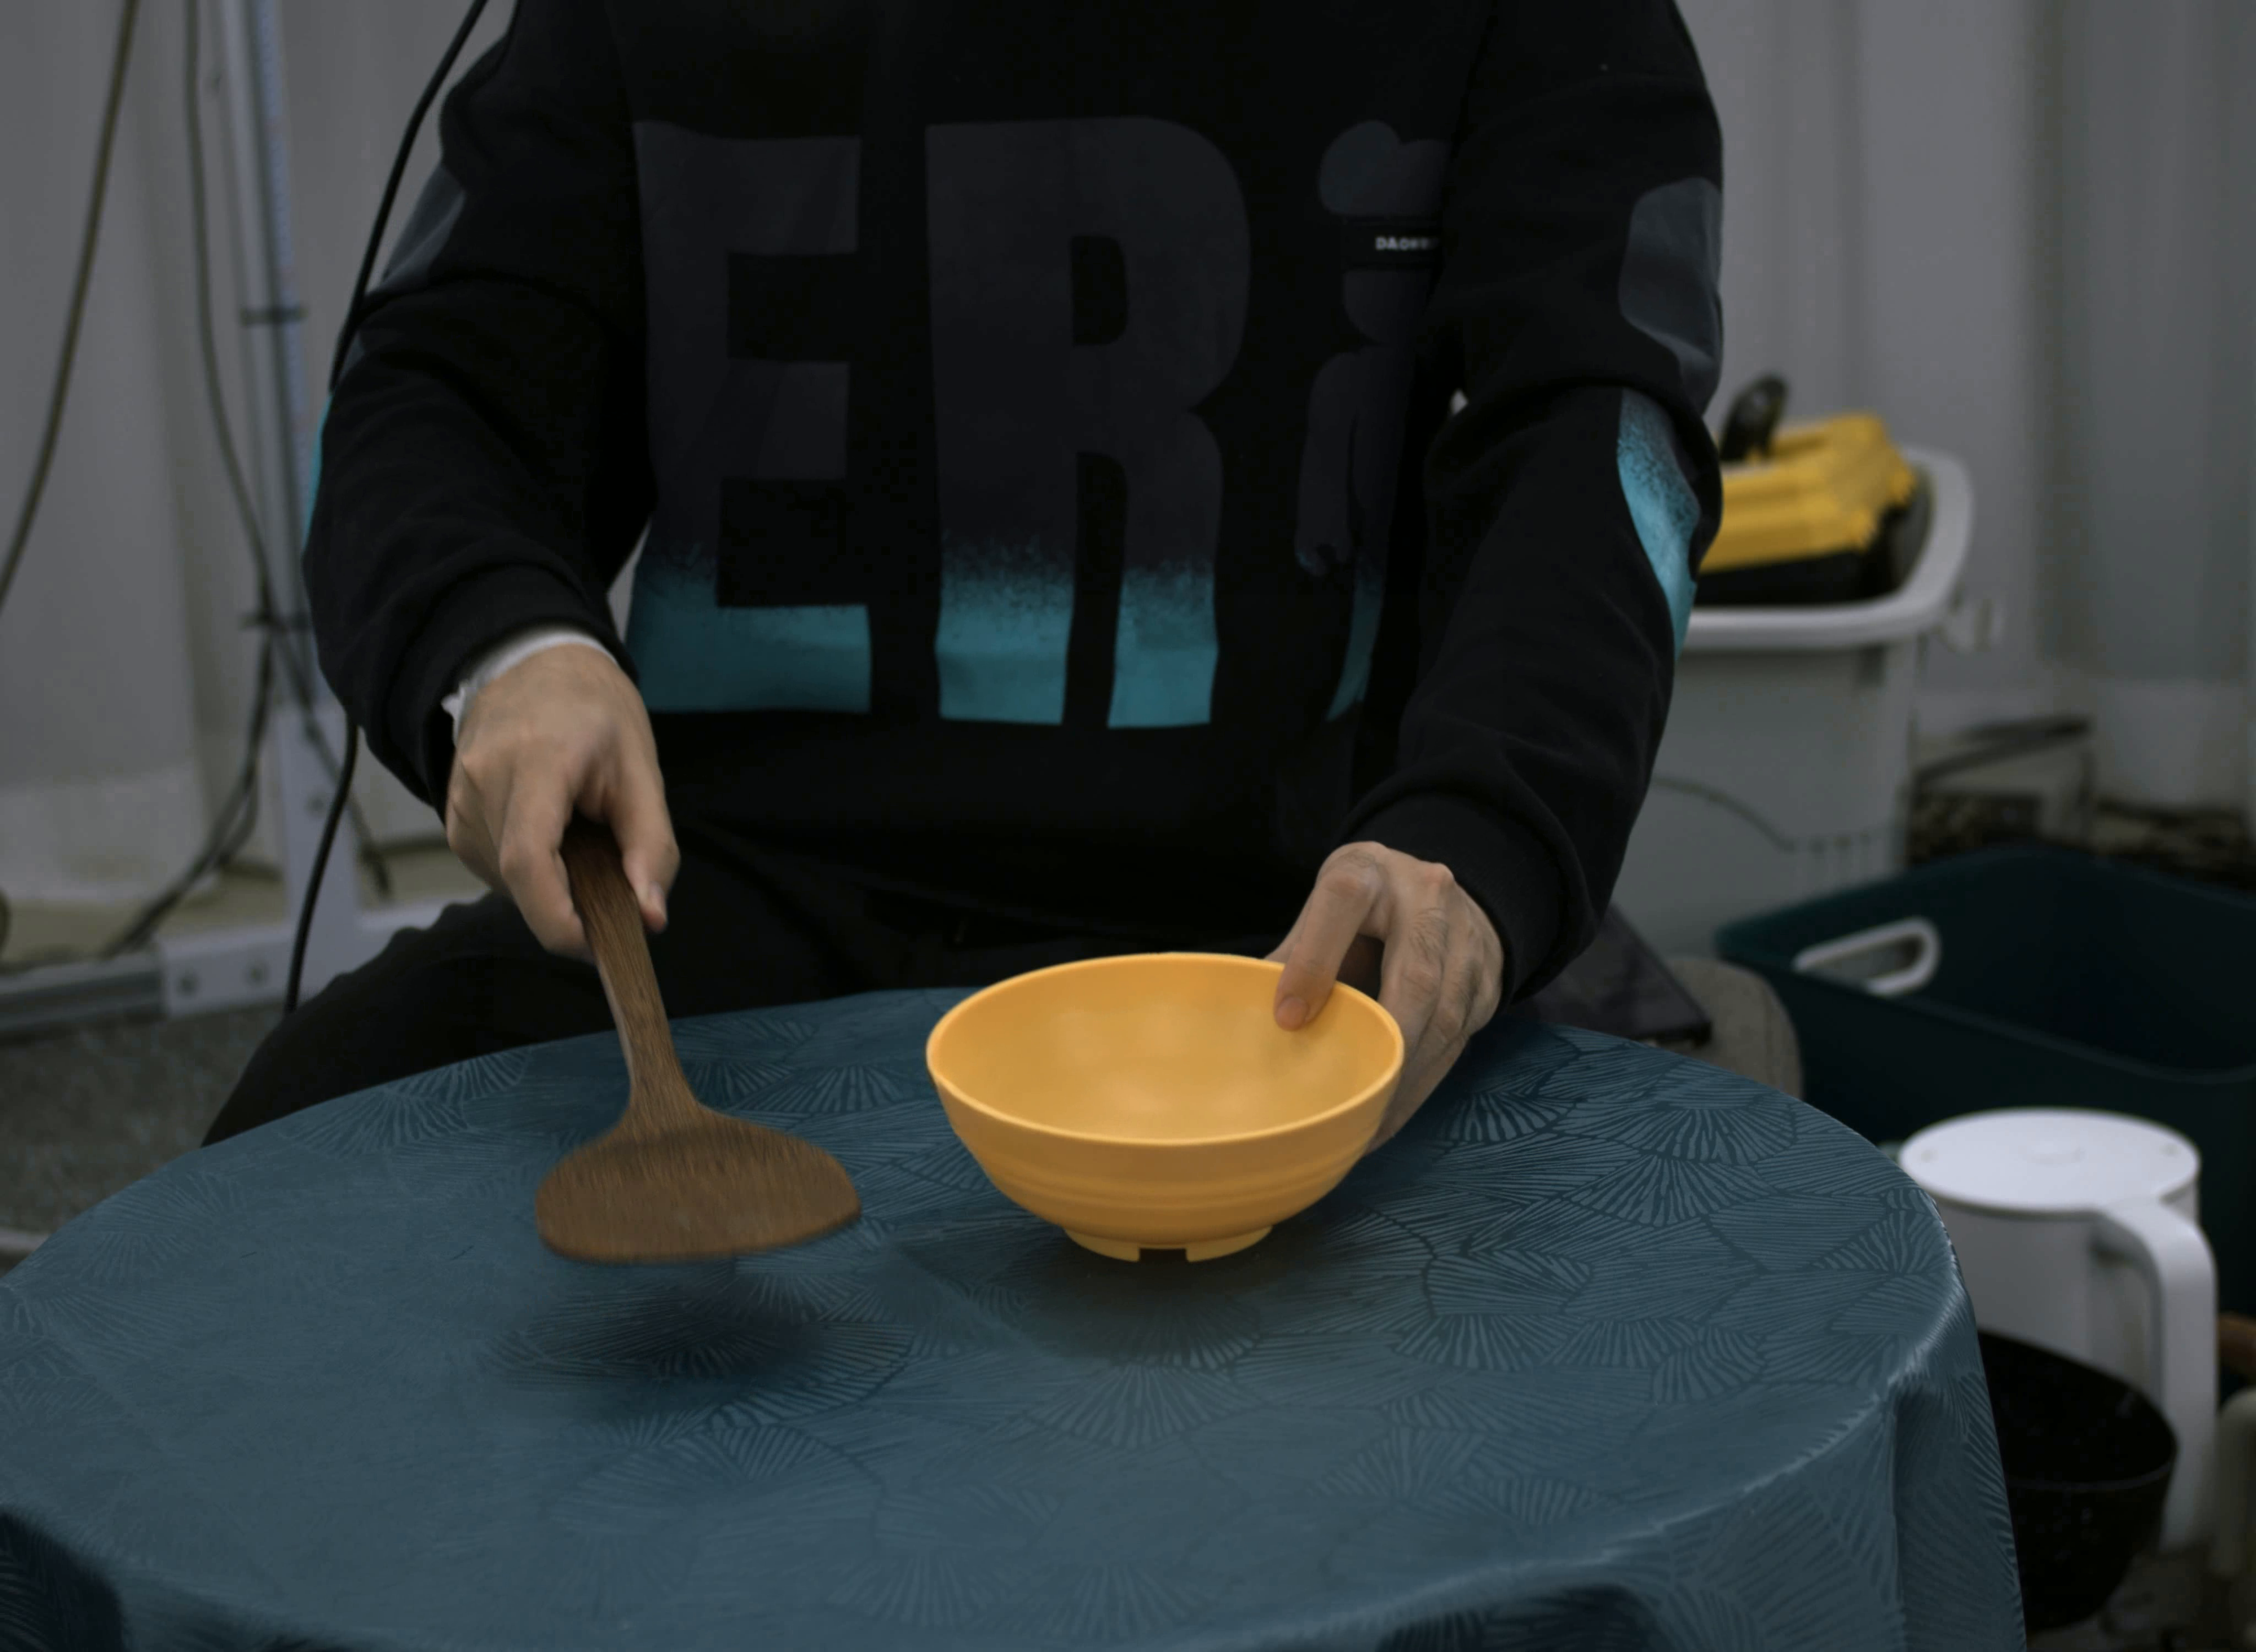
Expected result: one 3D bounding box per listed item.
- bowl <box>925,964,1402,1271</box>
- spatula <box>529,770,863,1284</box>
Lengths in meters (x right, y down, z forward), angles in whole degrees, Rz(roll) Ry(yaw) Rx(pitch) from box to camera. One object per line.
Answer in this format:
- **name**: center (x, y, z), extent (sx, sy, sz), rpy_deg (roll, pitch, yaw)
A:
- **bowl**: center (0.010, 0.095, 1.658), extent (0.145, 0.060, 0.146), rpy_deg (1, 19, -1)
- **spatula**: center (-0.157, 0.055, 1.731), extent (0.096, 0.015, 0.390), rpy_deg (-6, 24, -10)
